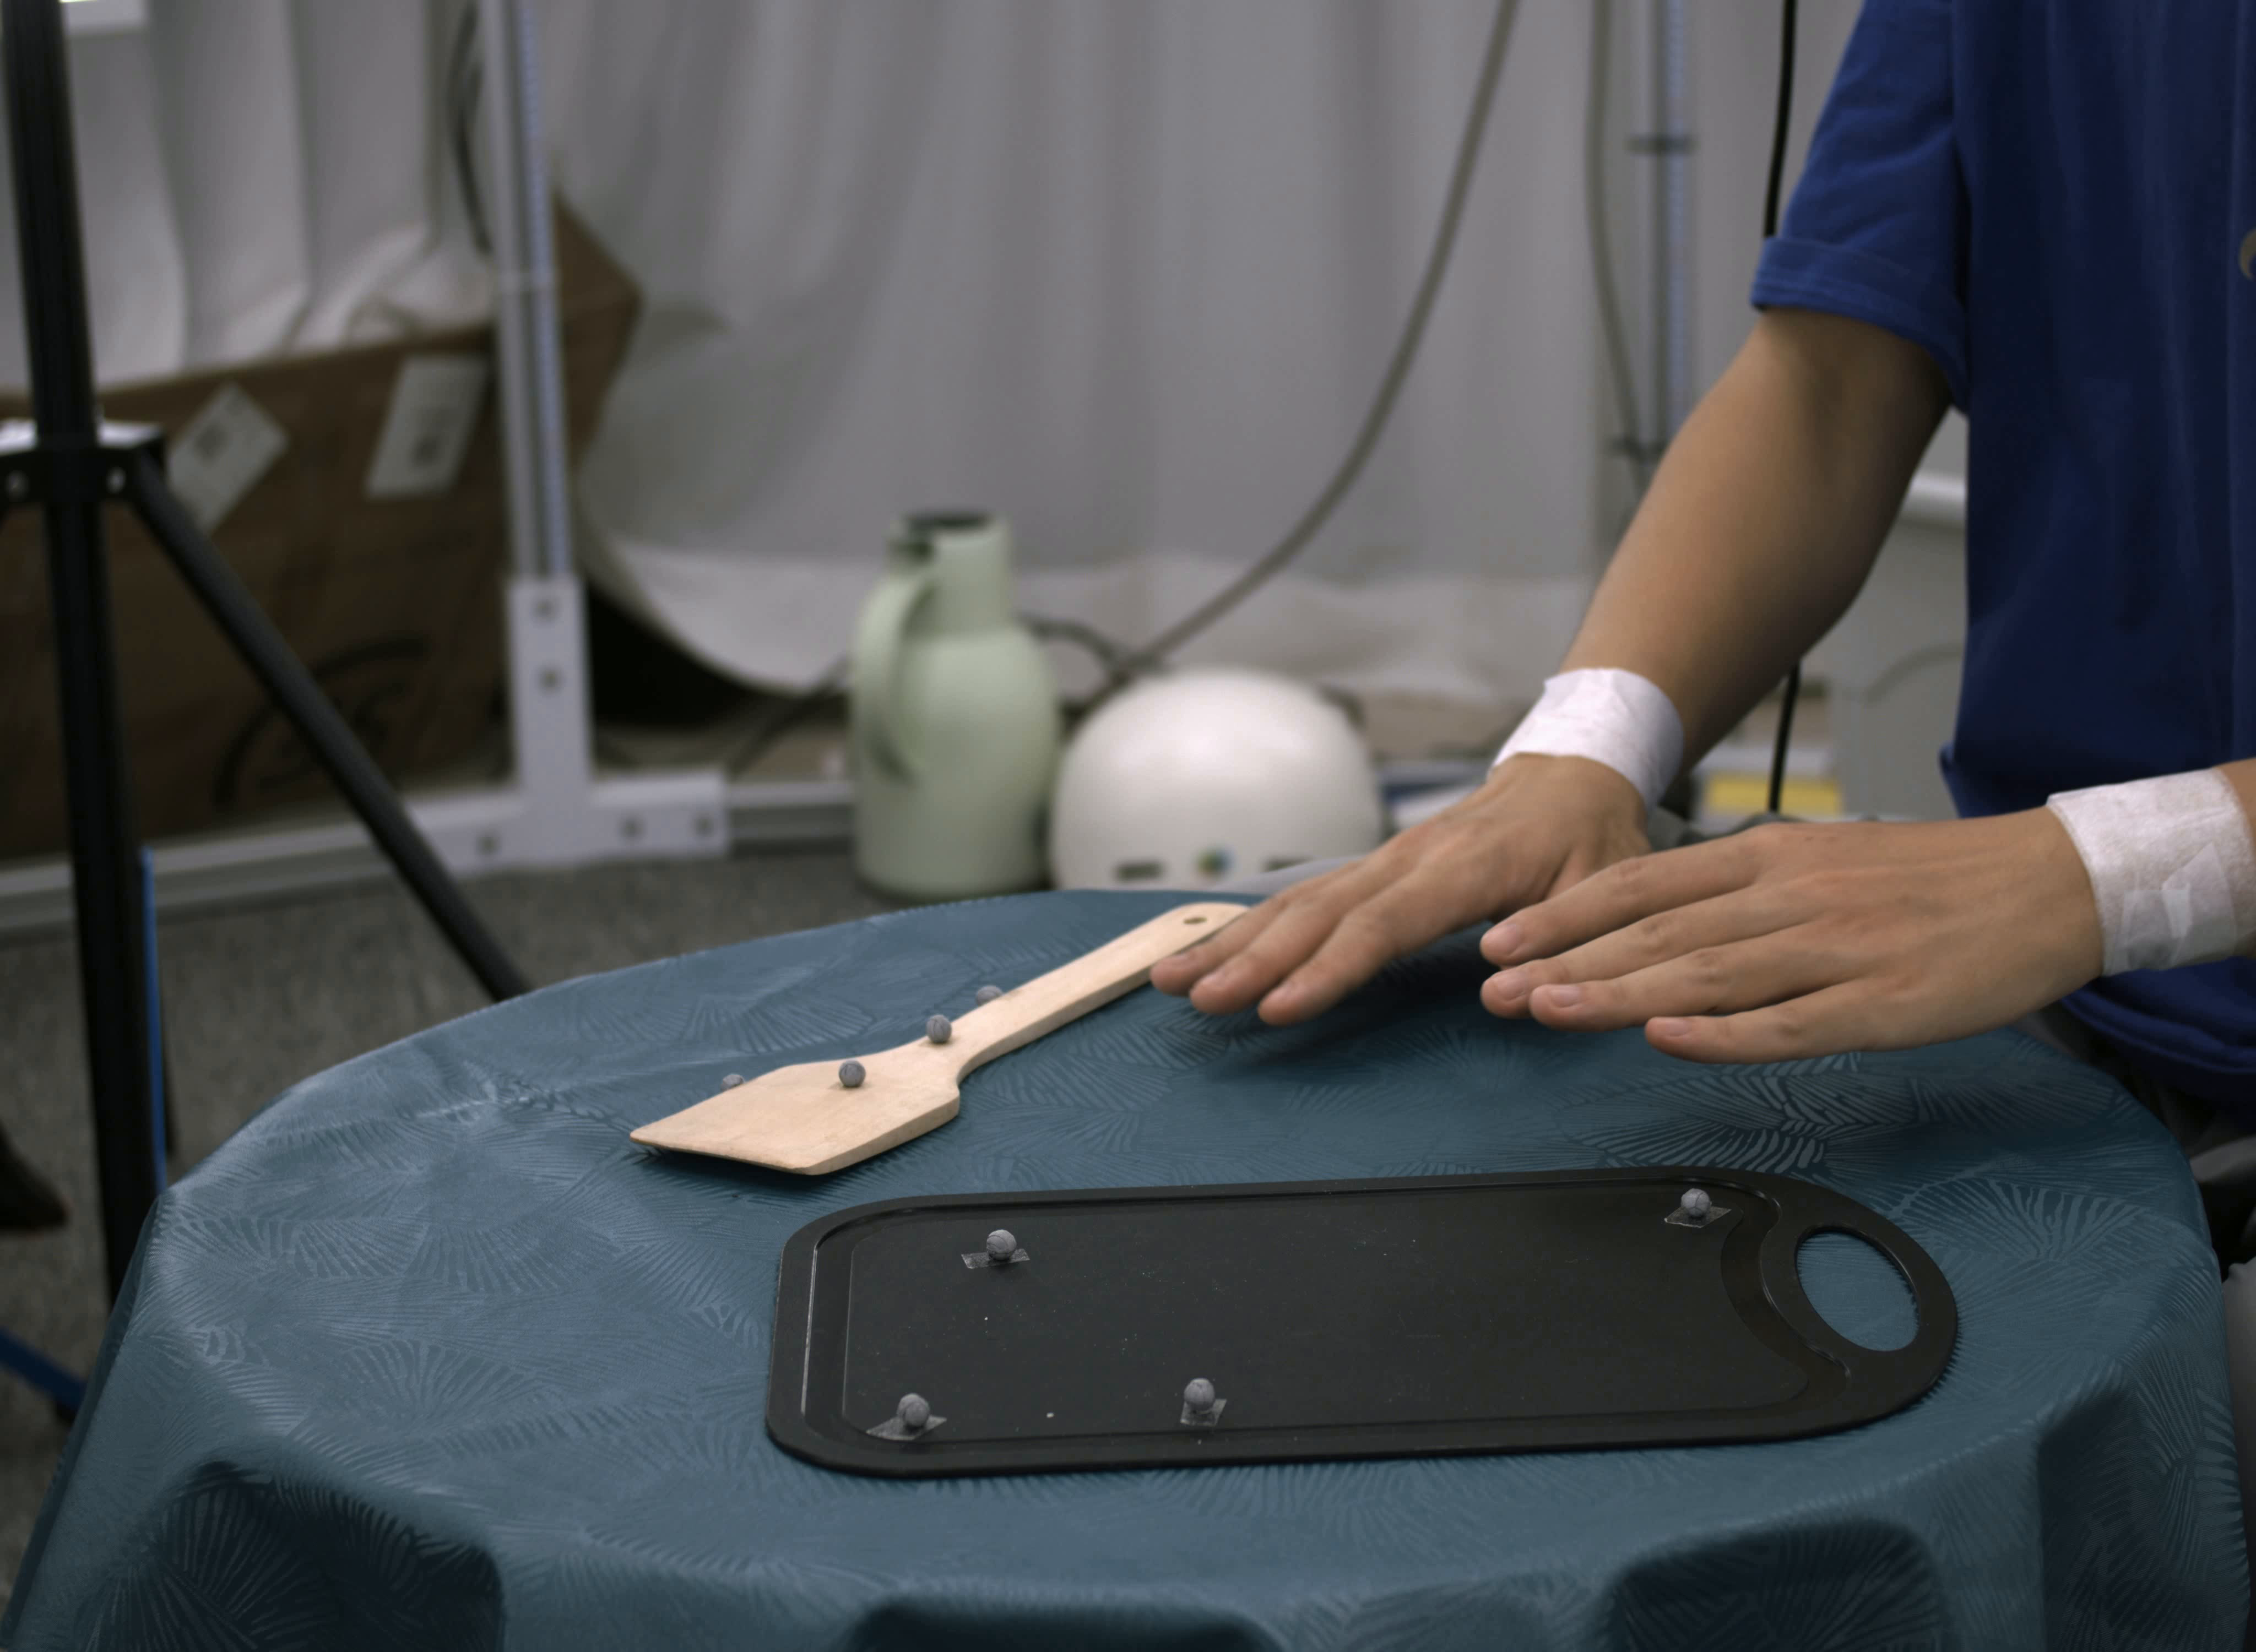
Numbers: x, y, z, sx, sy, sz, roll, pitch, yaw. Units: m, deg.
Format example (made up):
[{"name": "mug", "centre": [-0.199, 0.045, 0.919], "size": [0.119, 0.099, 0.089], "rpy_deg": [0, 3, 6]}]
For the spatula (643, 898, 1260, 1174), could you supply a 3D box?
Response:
[{"name": "spatula", "centre": [-0.043, 0.064, 1.702], "size": [0.073, 0.010, 0.287], "rpy_deg": [7, 18, 33]}]

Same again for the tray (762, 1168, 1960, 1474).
[{"name": "tray", "centre": [0.064, 0.132, 1.452], "size": [0.324, 0.010, 0.212], "rpy_deg": [-2, 16, 2]}]
